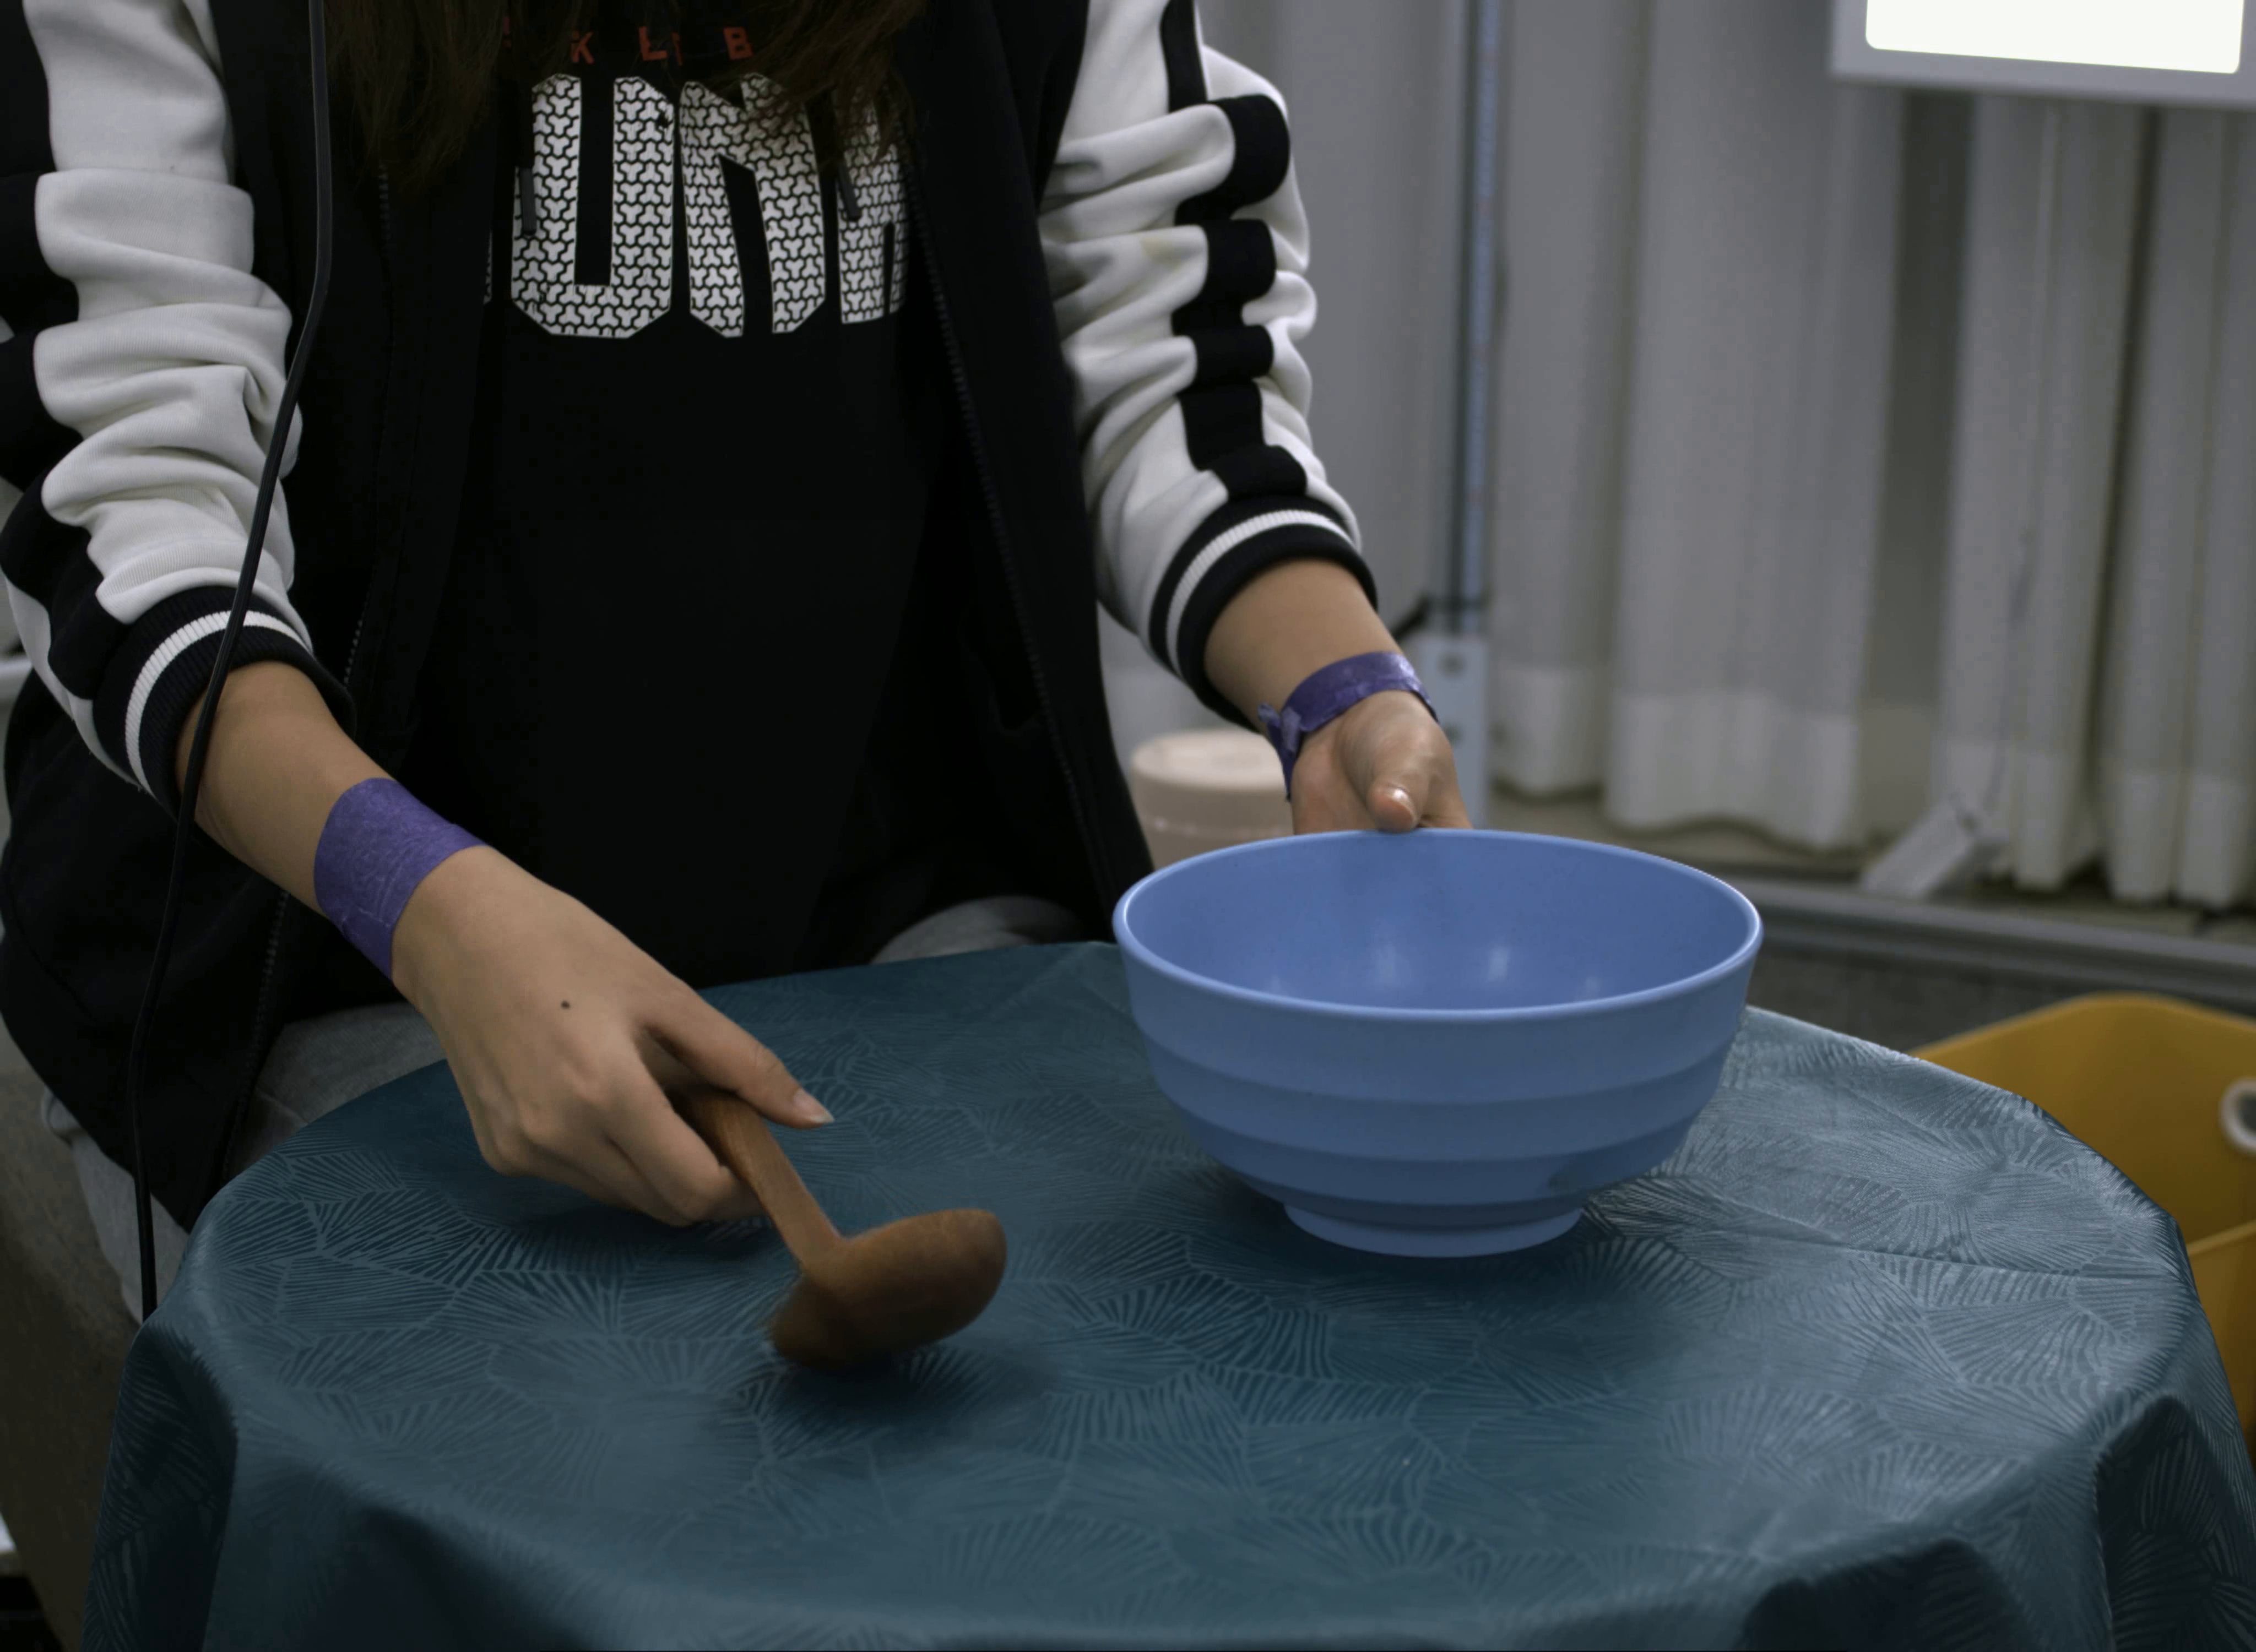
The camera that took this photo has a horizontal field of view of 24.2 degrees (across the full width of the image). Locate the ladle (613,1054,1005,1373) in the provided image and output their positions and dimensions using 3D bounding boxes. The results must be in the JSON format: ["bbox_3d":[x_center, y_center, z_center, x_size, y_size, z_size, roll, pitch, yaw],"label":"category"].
[{"bbox_3d":[-0.106,0.096,1.538,0.076,0.066,0.257,-11,23,-19],"label":"ladle"}]

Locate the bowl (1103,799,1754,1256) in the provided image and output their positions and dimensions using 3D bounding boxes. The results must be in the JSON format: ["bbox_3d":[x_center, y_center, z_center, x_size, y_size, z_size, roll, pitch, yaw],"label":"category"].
[{"bbox_3d":[0.092,0.069,1.604,0.196,0.096,0.195,-2,21,1],"label":"bowl"}]
